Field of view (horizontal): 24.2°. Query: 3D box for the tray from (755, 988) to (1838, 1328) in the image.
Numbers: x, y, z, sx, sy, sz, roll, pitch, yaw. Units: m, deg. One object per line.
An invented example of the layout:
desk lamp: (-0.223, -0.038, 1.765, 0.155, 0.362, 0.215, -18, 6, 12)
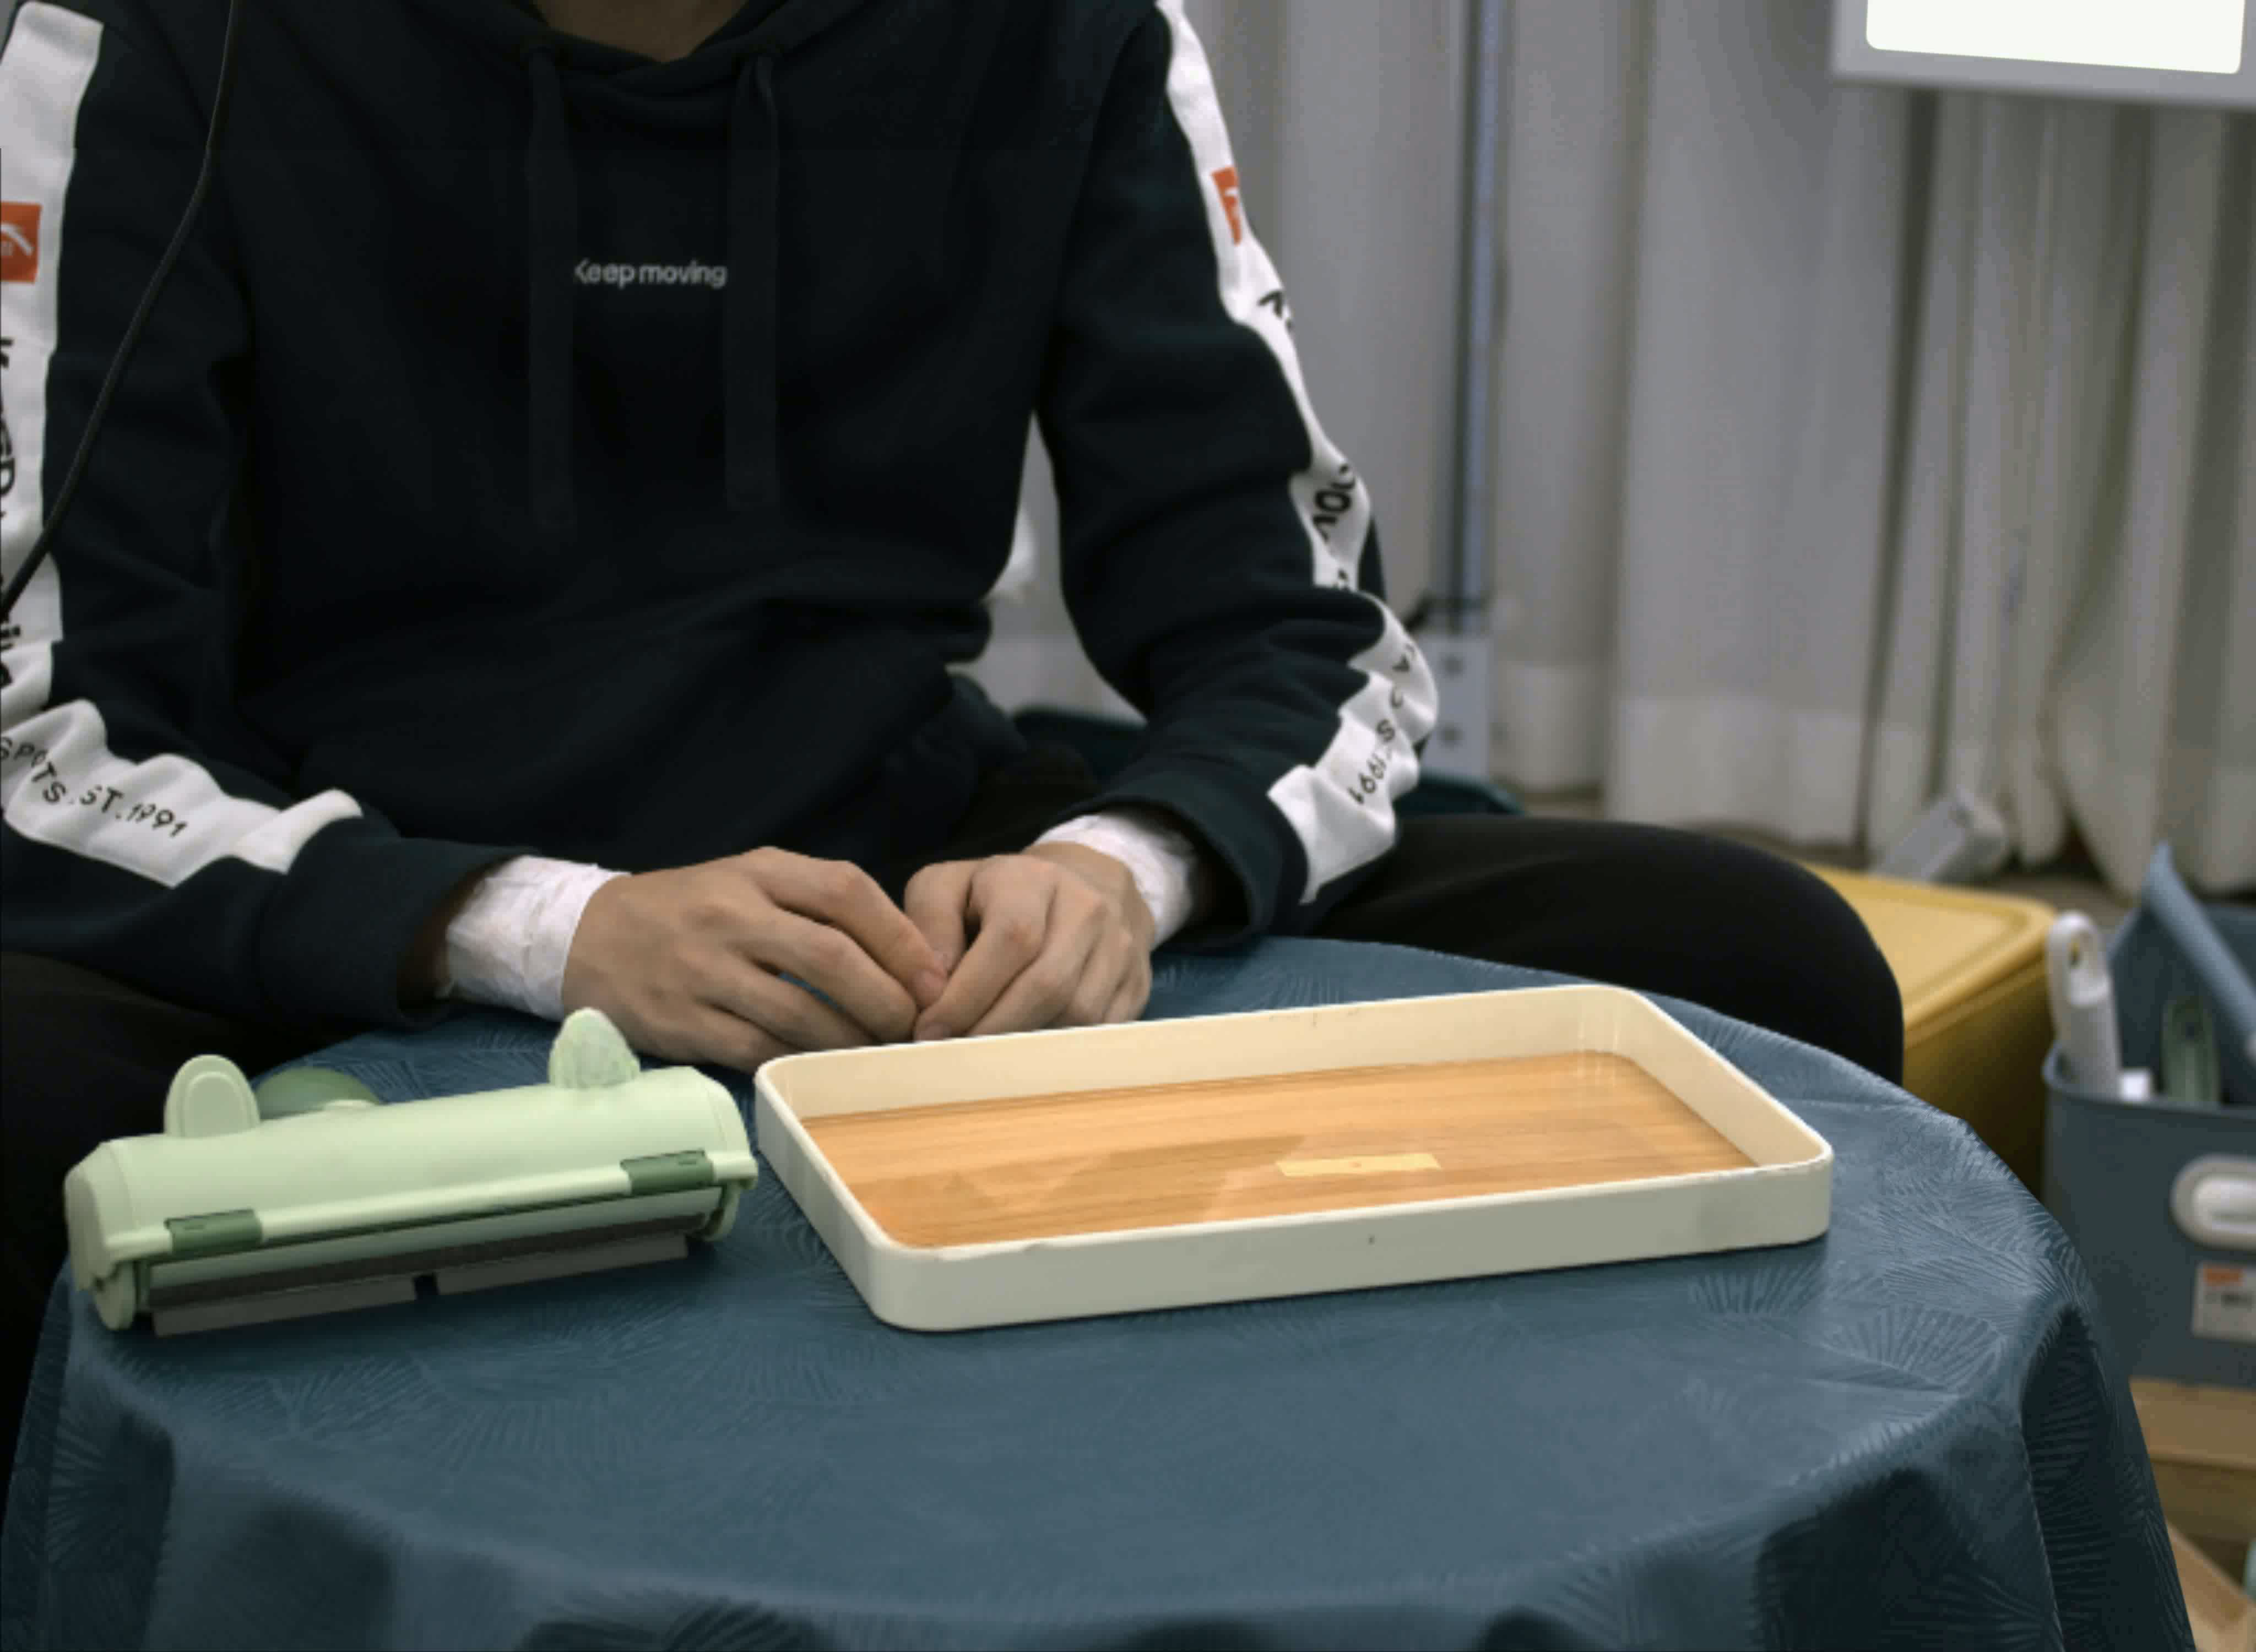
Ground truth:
tray: (0.048, 0.099, 1.619, 0.301, 0.027, 0.189, -4, 16, -16)

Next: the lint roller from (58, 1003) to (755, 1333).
lint roller: (-0.231, 0.083, 1.572, 0.199, 0.083, 0.181, -7, 21, -24)
